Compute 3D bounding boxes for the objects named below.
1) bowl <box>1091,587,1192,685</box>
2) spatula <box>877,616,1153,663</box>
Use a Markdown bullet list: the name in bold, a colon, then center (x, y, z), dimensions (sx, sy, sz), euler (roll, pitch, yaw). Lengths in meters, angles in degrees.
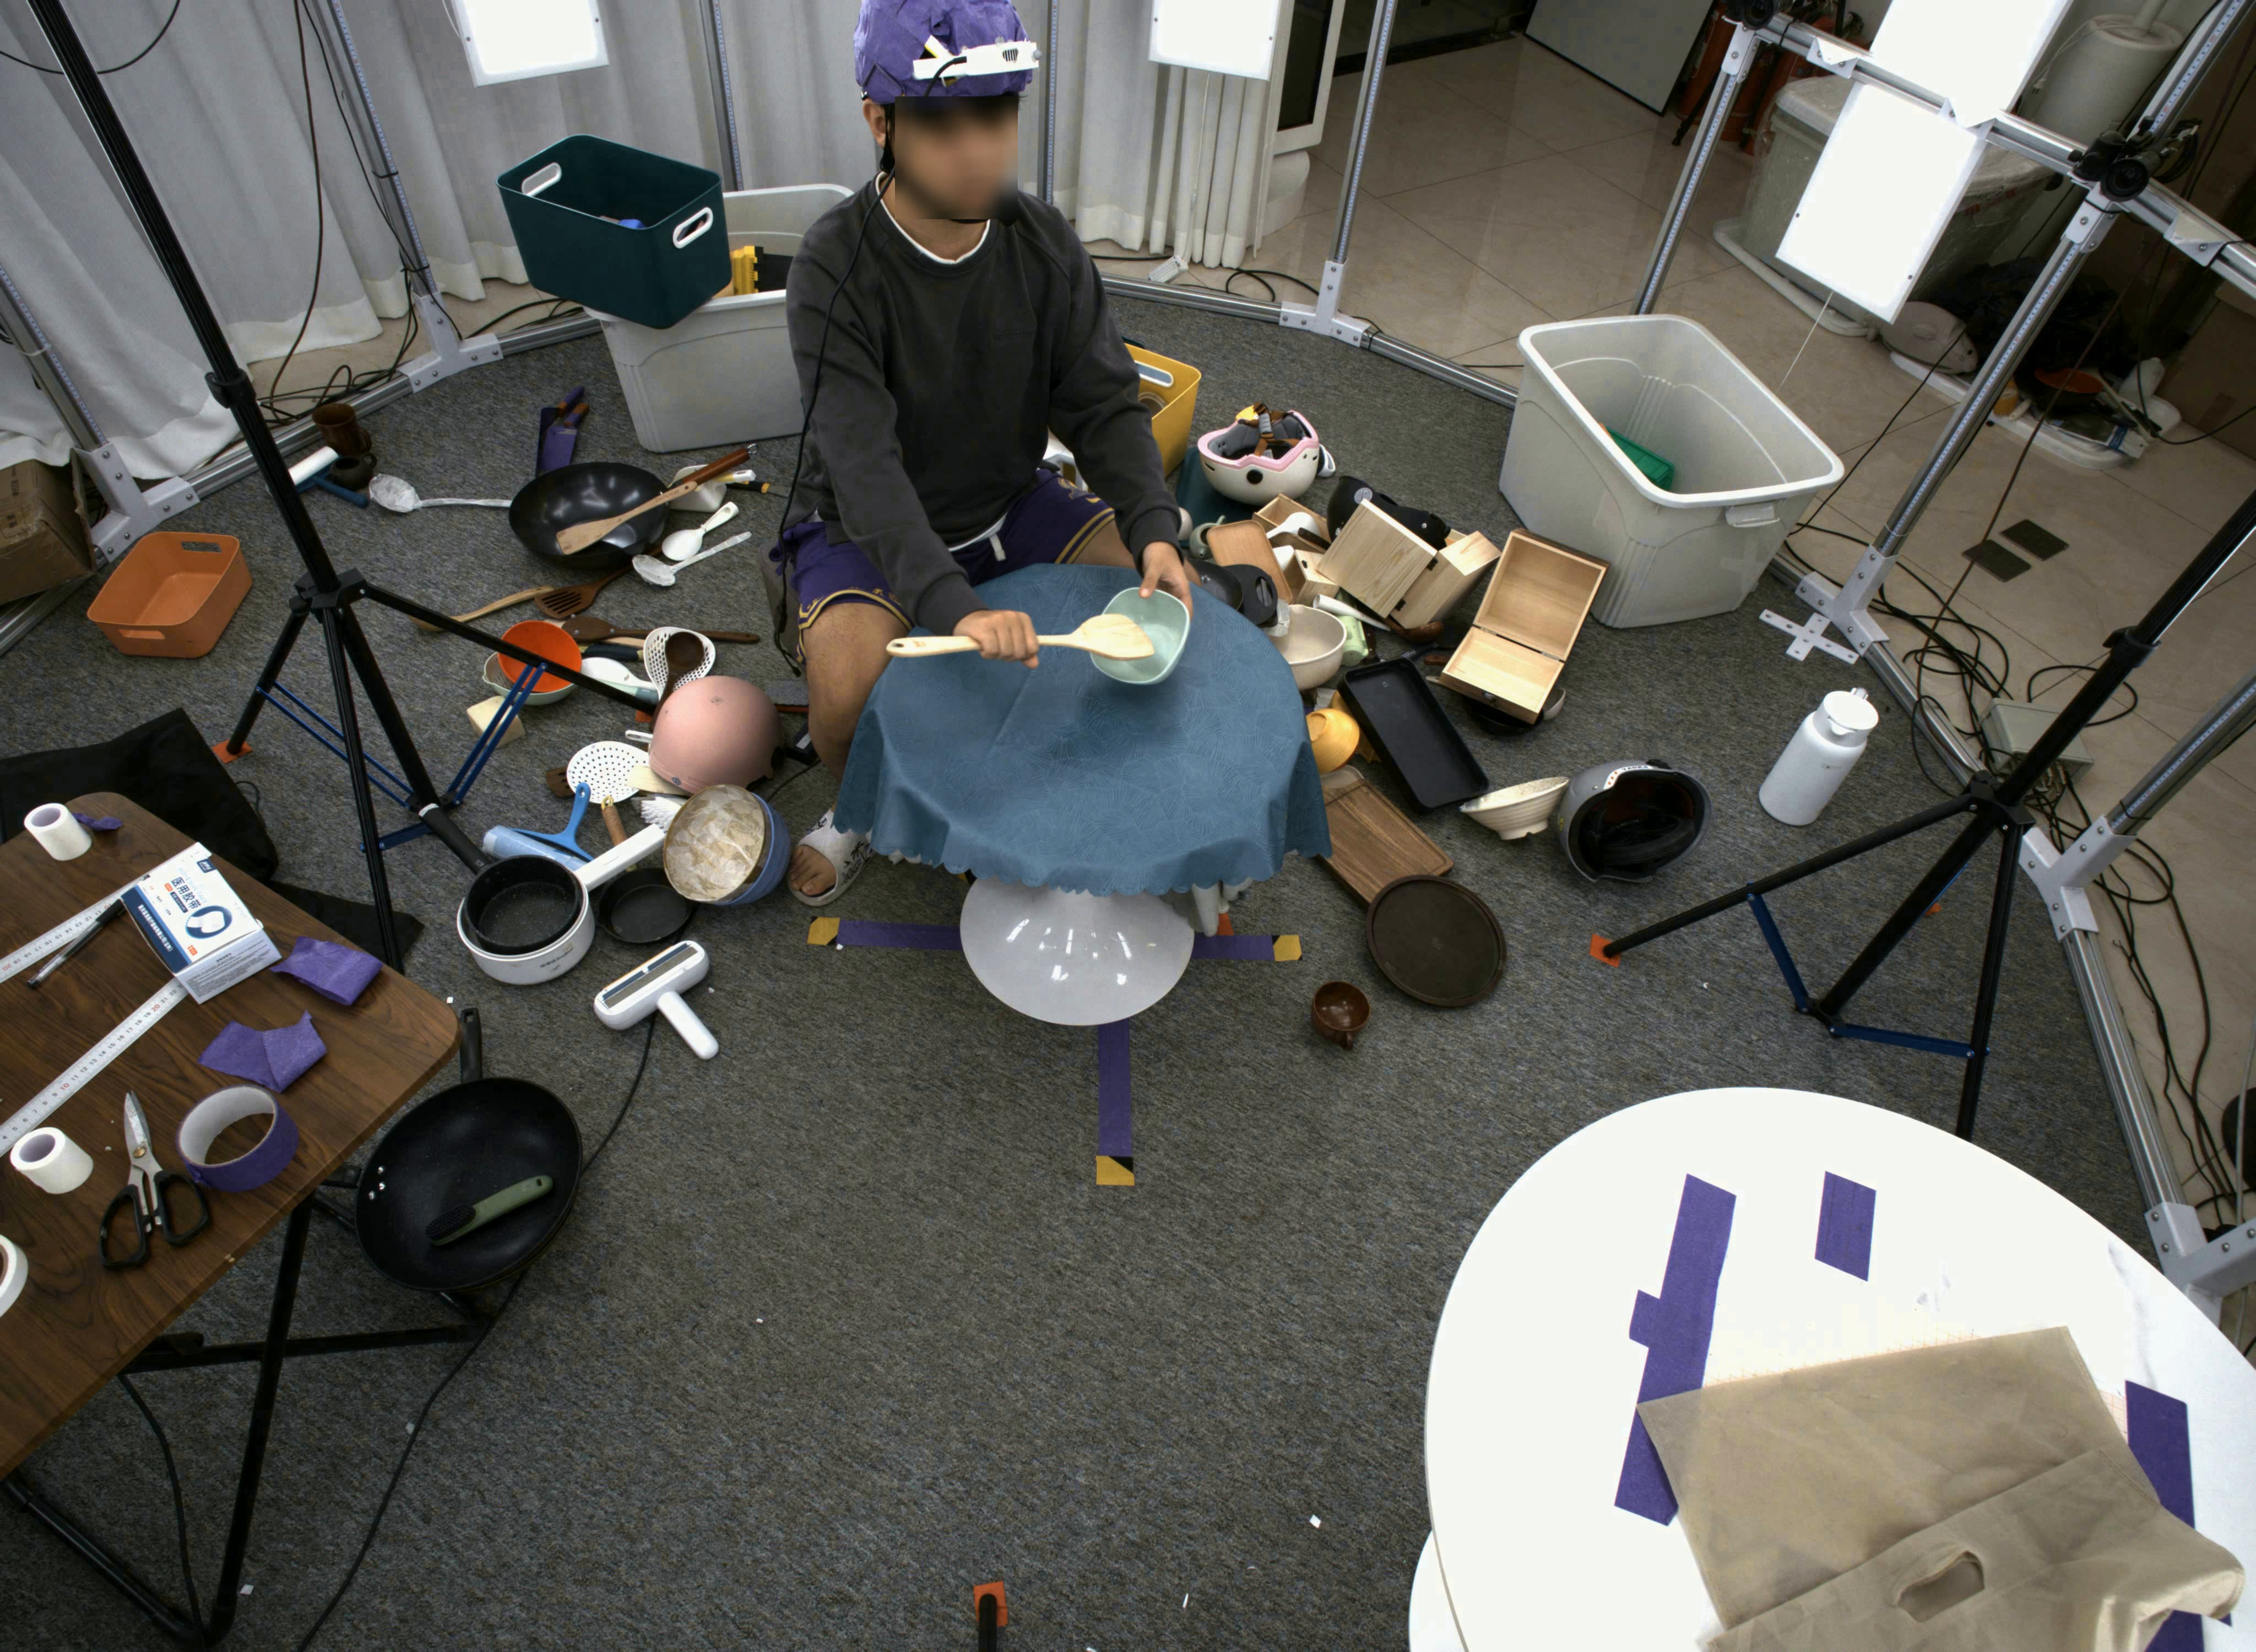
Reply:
- **bowl**: center (0.027, -0.258, 1.798), dimensions (0.151, 0.058, 0.154), euler (-6, 71, 20)
- **spatula**: center (-0.136, -0.234, 1.646), dimensions (0.390, 0.018, 0.098), euler (-8, 46, -36)
